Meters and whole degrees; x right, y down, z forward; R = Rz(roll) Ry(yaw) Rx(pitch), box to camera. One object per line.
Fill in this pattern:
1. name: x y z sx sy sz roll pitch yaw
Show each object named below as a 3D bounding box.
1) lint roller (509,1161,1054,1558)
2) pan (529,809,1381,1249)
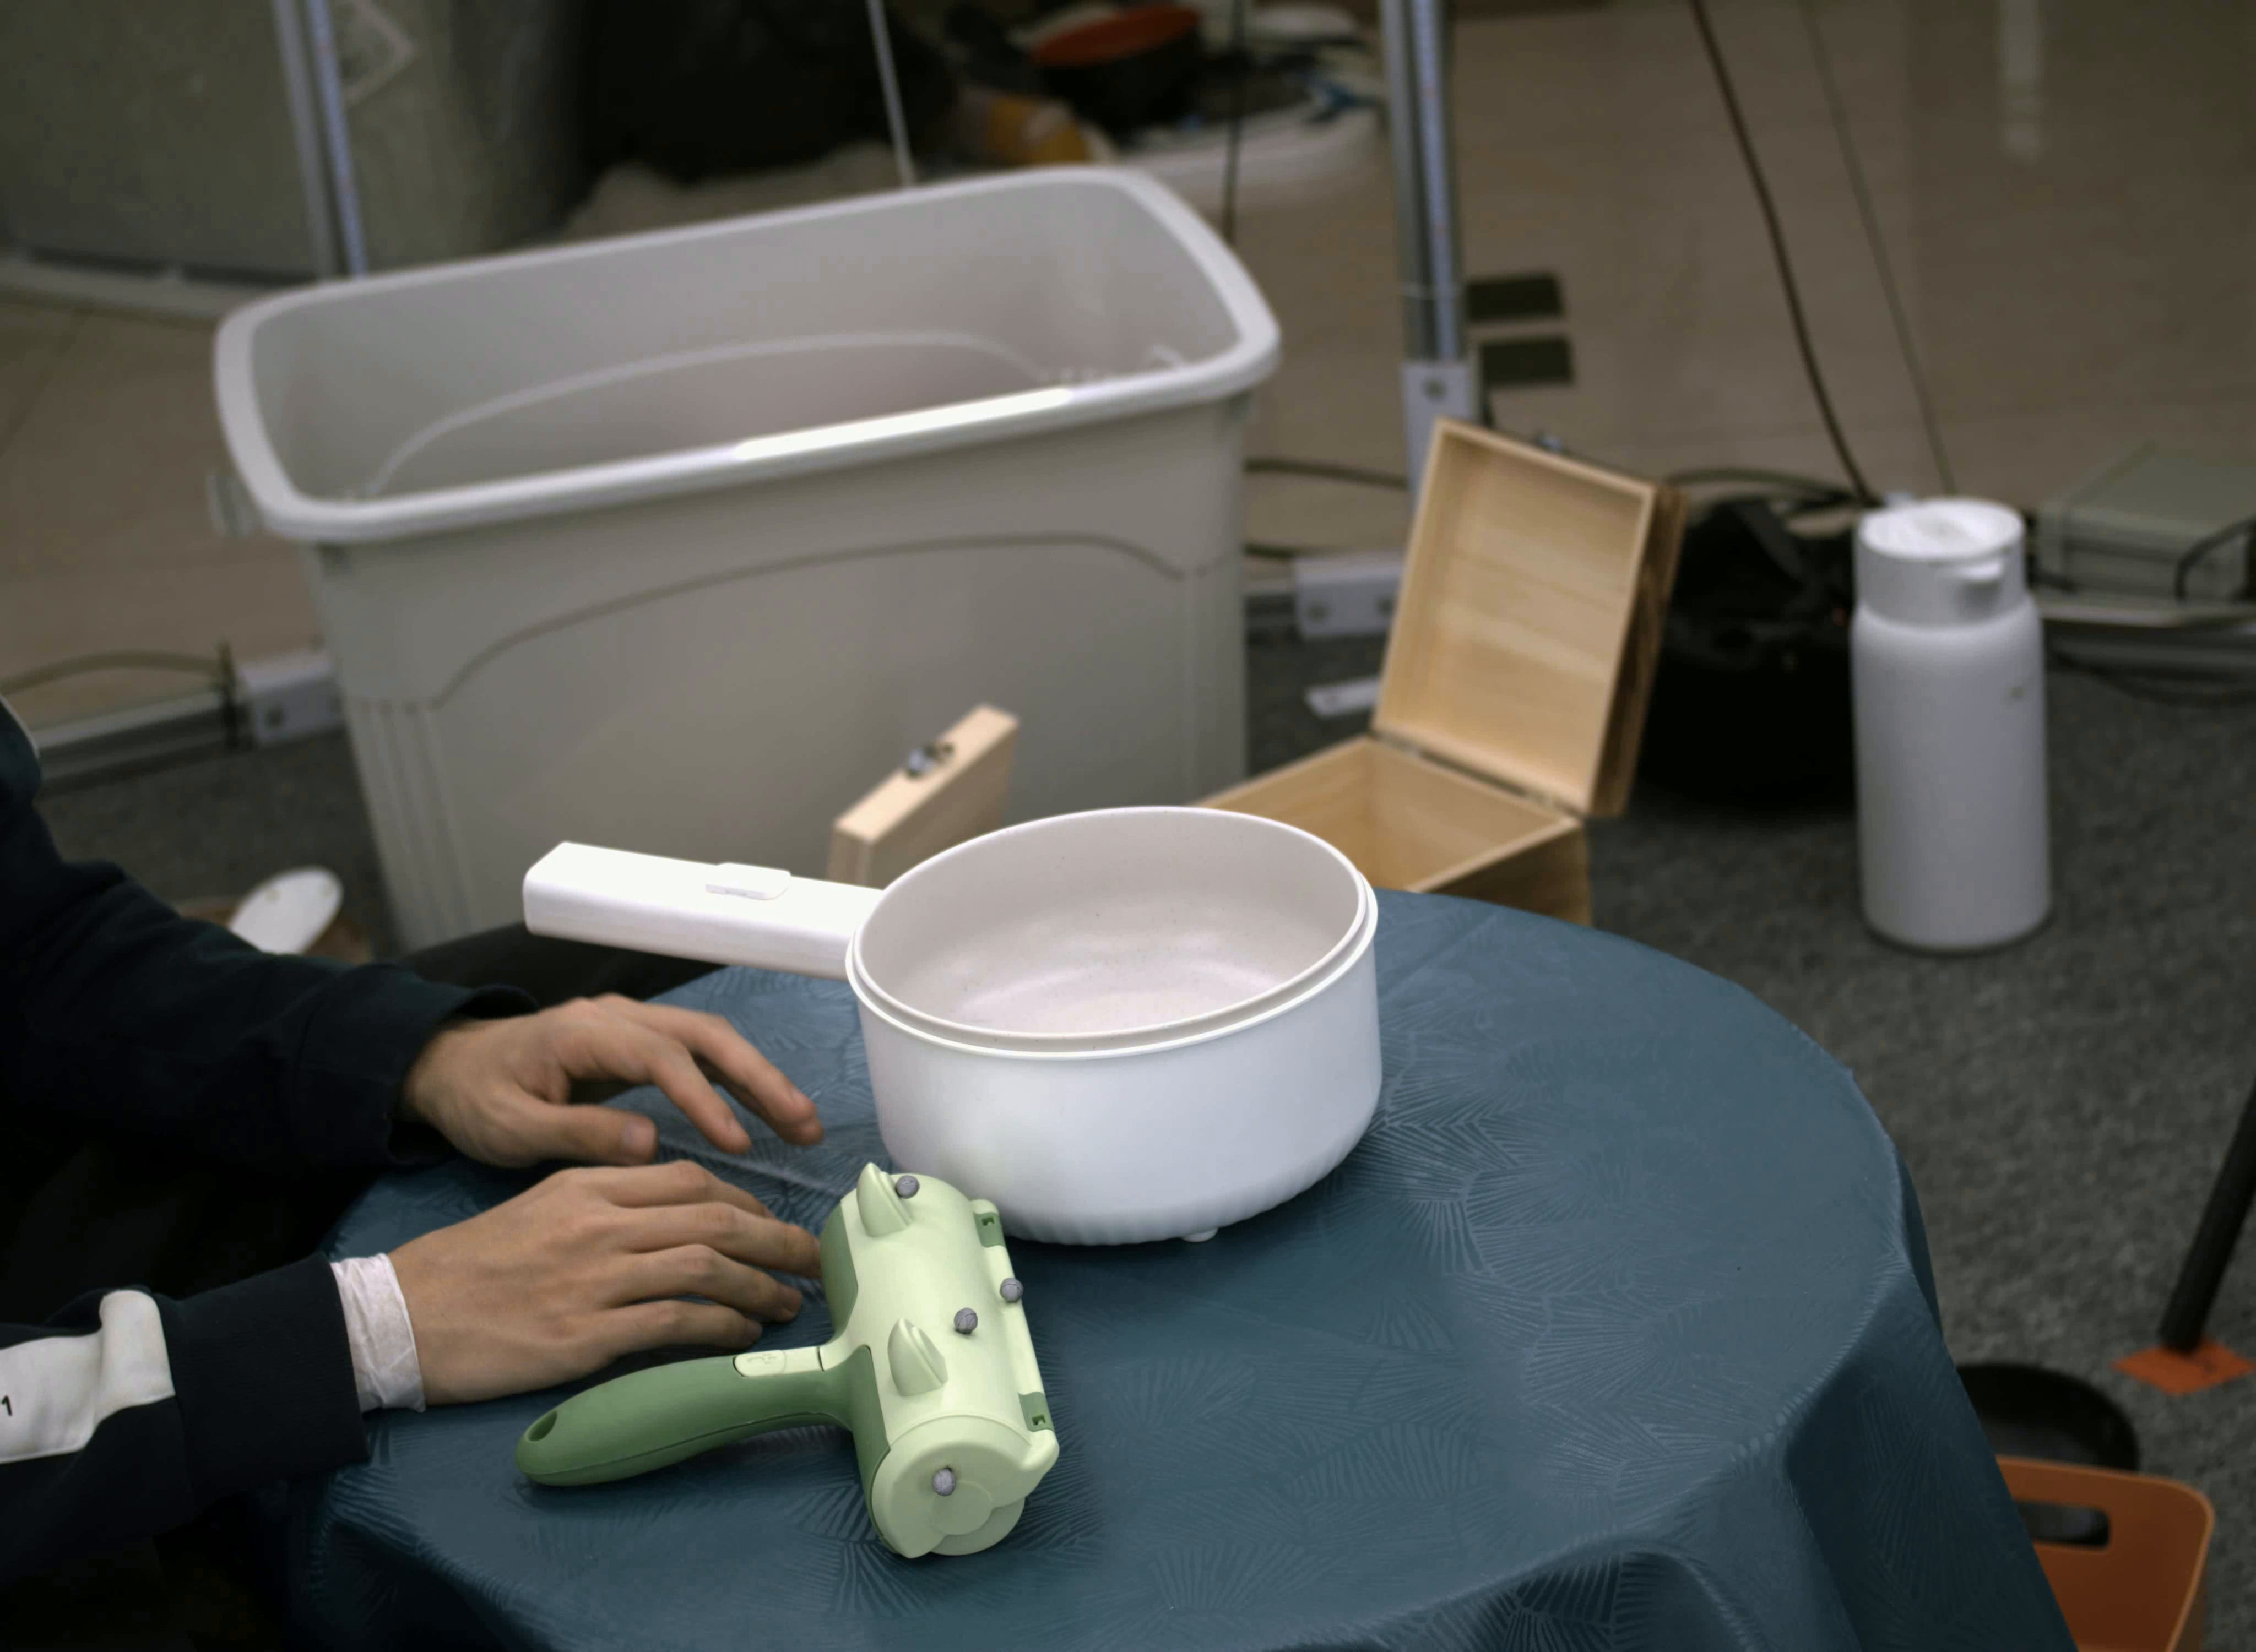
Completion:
1. lint roller: -0.127 0.185 1.988 0.183 0.083 0.196 -4 25 -7
2. pan: -0.070 0.073 2.186 0.353 0.104 0.198 6 29 27
